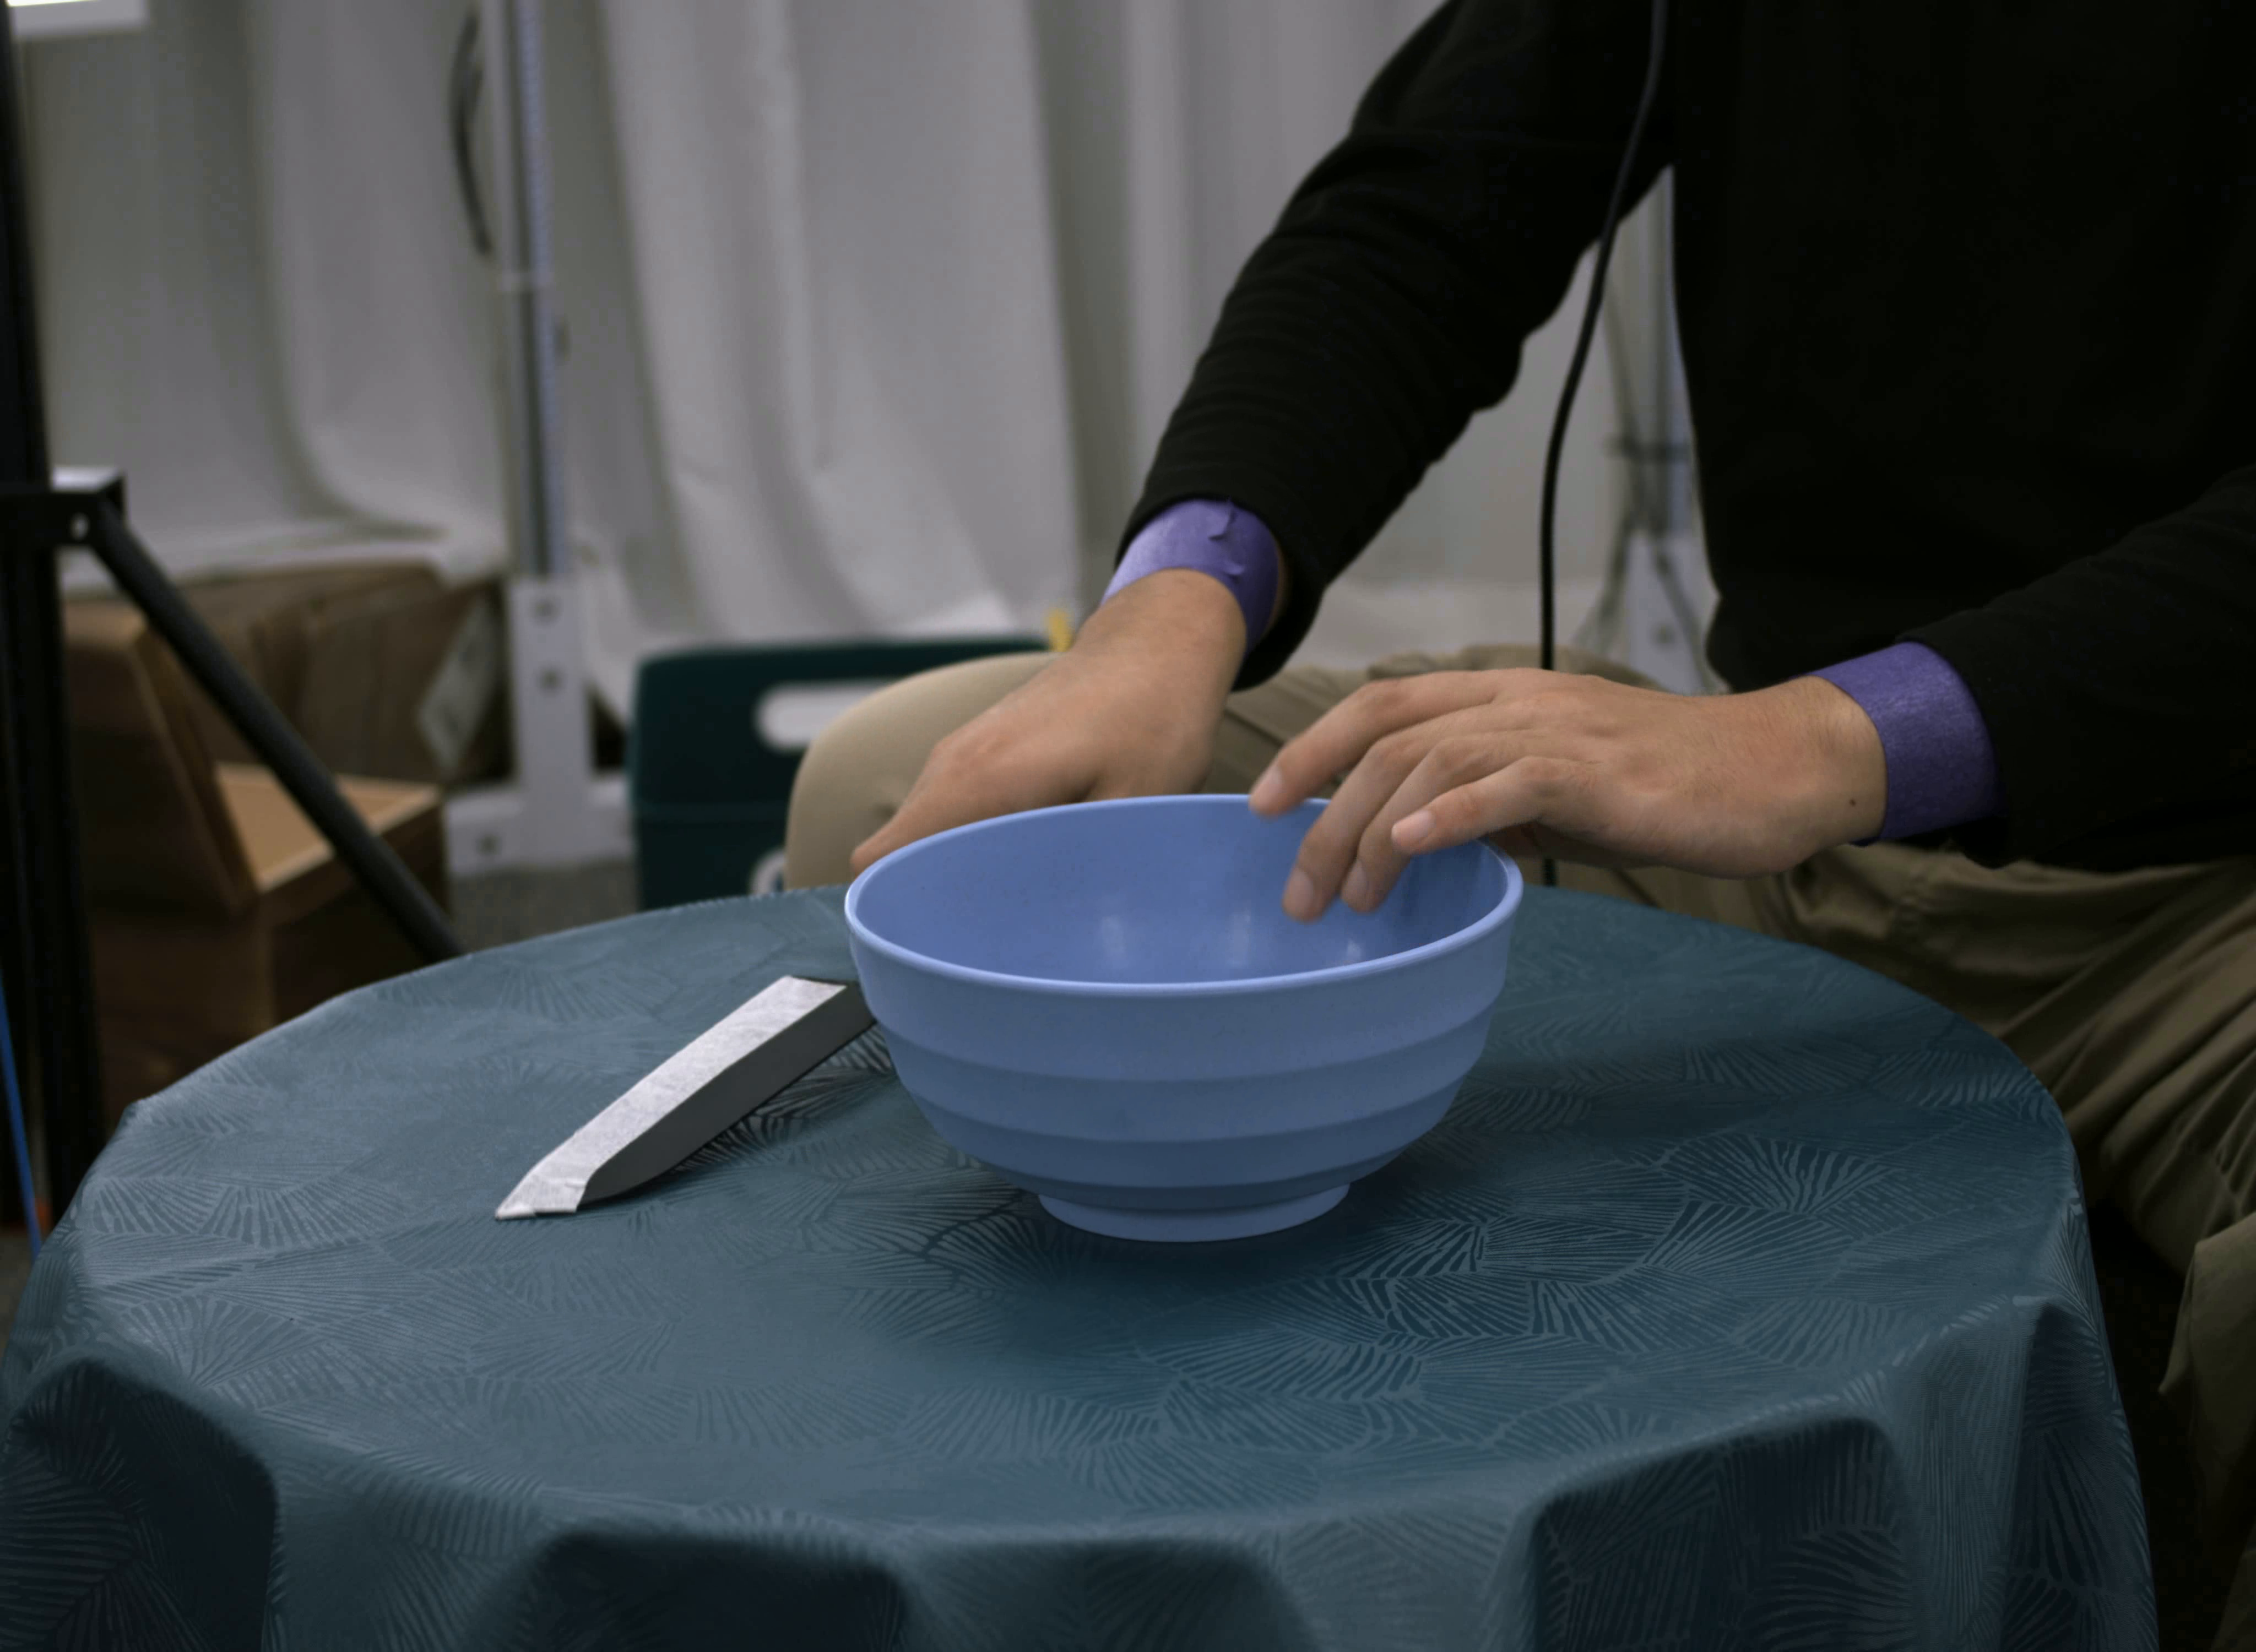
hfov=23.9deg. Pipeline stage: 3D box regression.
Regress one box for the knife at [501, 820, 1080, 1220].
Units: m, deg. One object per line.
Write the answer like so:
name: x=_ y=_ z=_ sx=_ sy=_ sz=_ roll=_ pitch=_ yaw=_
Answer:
knife: x=-0.100 y=0.060 z=1.660 sx=0.051 sy=0.020 sz=0.284 roll=10 pitch=29 yaw=34

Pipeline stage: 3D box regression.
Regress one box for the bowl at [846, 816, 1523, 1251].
bowl: x=0.017 y=0.064 z=1.543 sx=0.195 sy=0.095 sz=0.197 roll=-2 pitch=14 yaw=-1
